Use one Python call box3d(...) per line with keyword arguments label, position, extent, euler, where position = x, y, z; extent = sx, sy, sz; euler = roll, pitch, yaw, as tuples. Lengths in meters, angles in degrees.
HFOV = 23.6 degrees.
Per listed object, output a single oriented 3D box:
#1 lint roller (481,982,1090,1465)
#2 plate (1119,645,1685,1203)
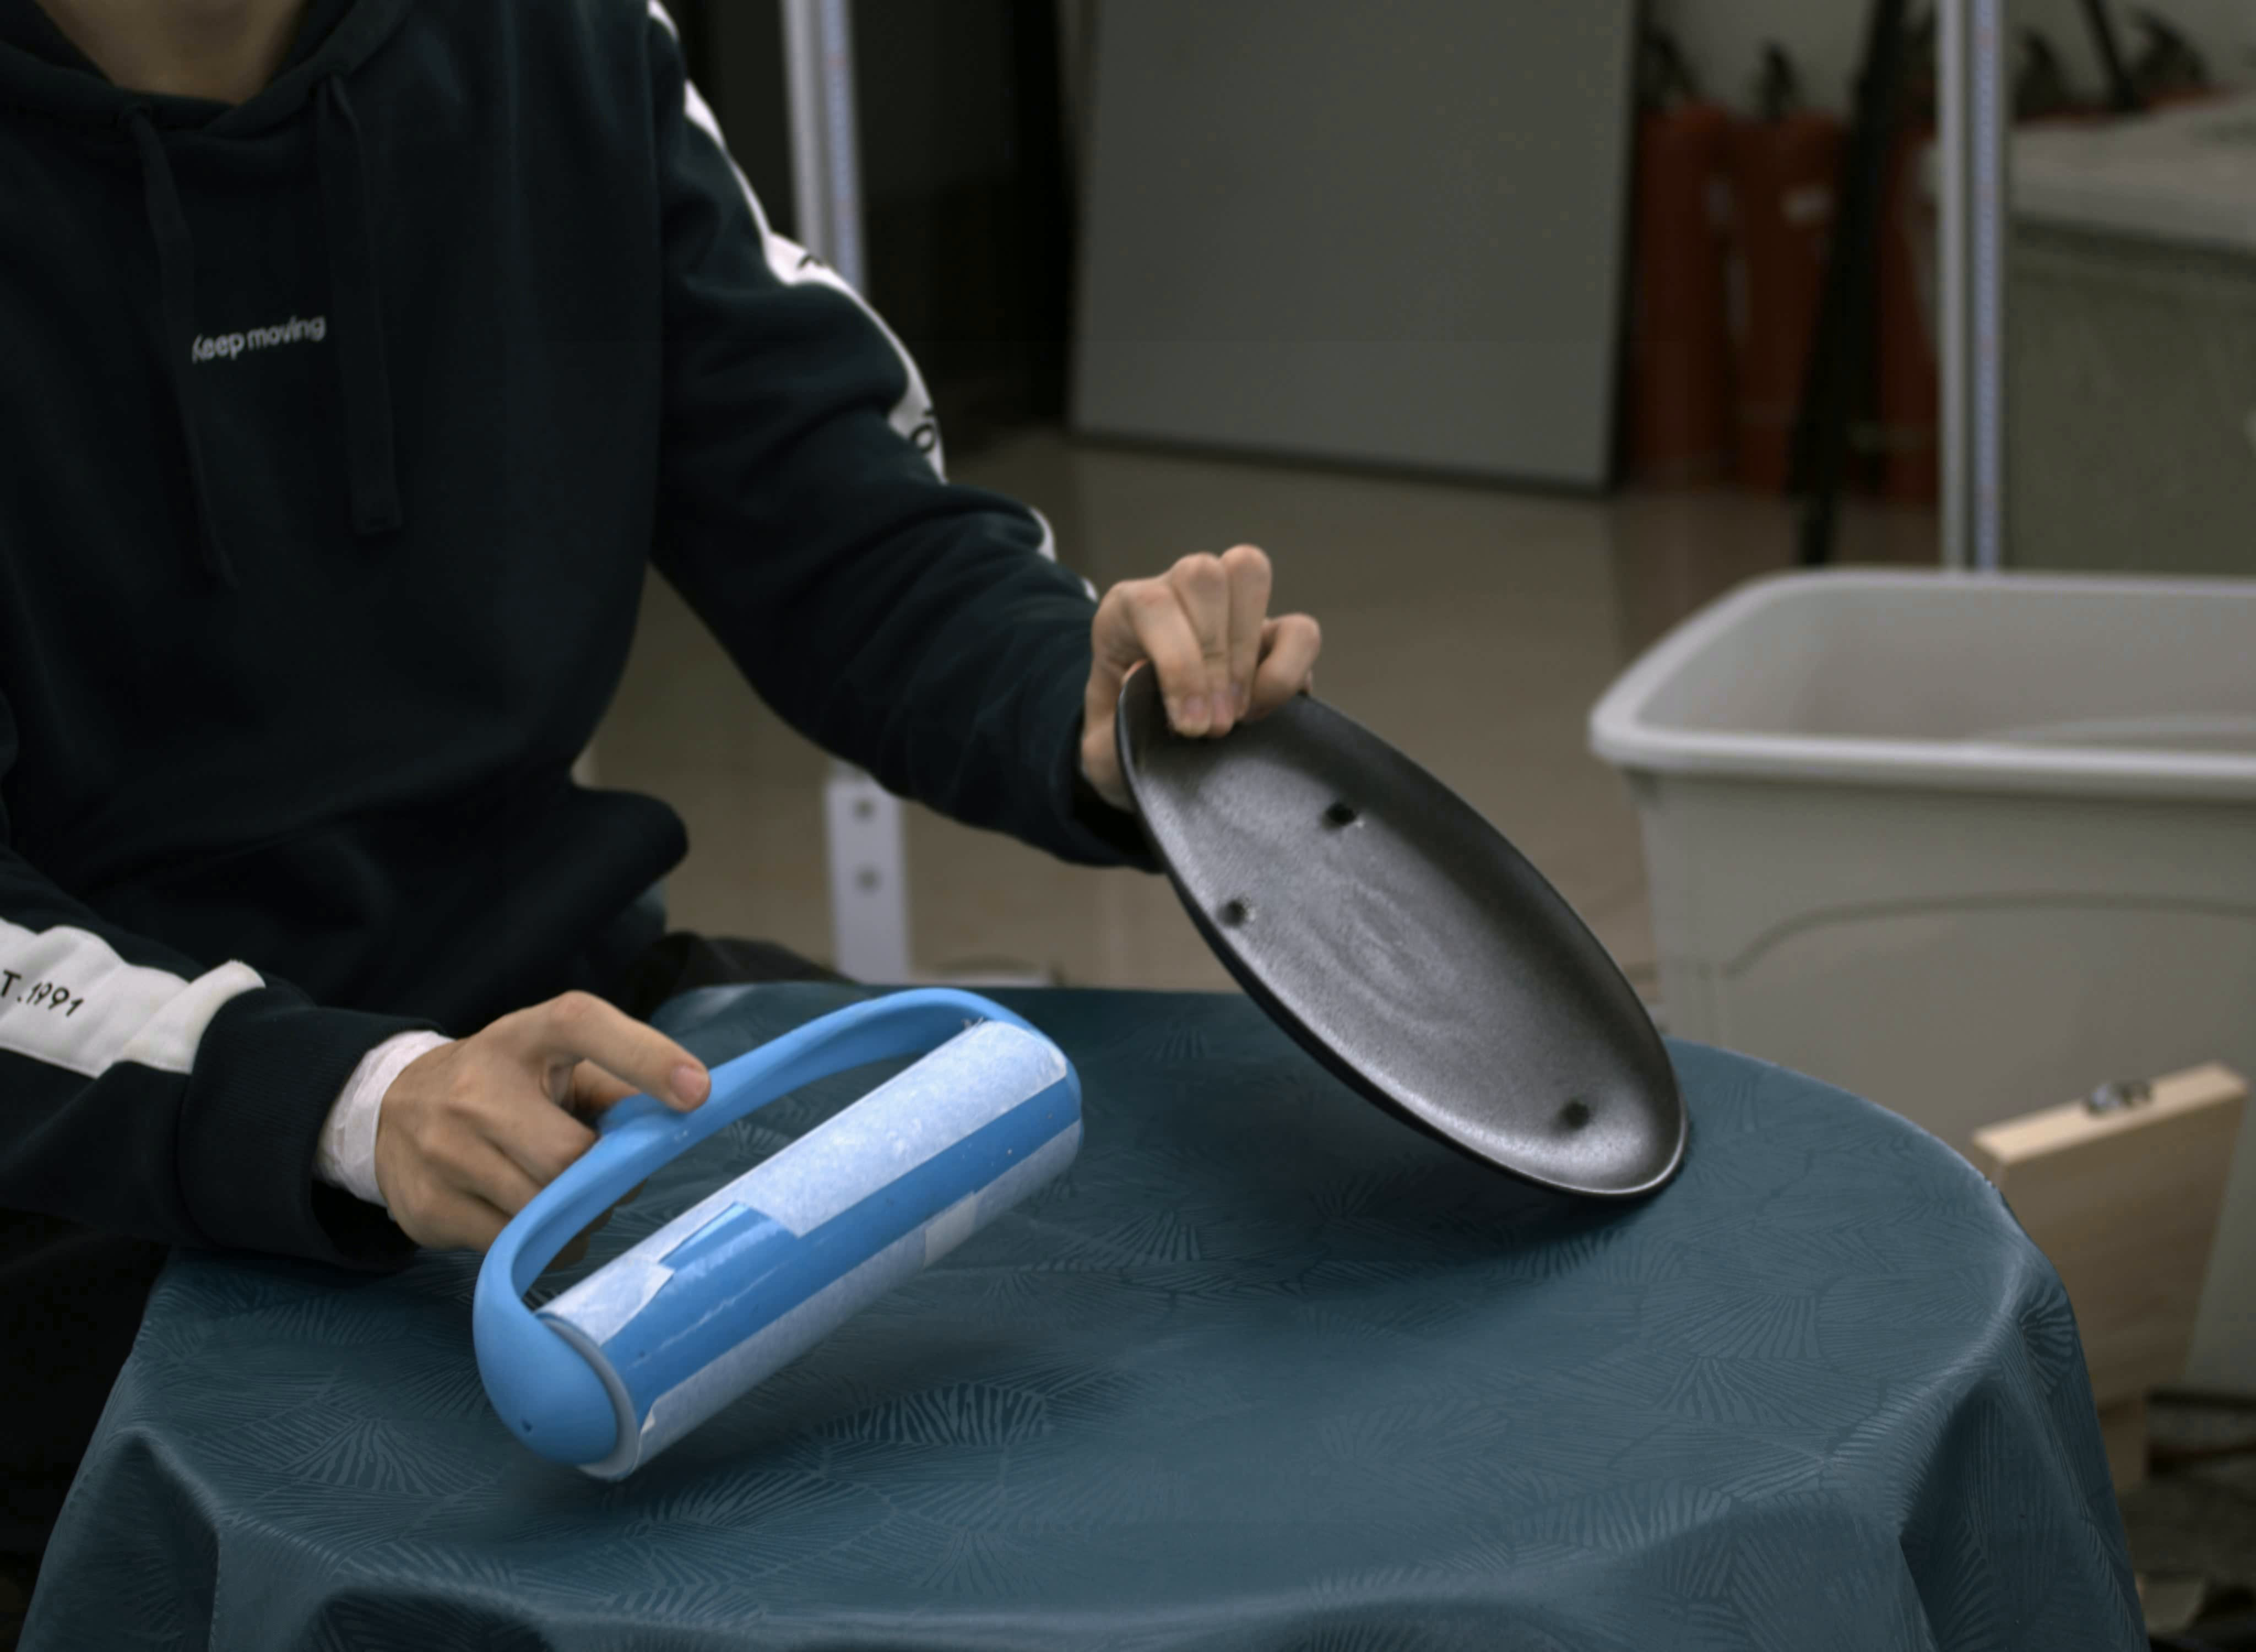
box3d(label="lint roller", position=(-0.136, 0.112, 1.612), extent=(0.182, 0.068, 0.225), euler=(5, 28, 41))
box3d(label="plate", position=(0.086, 0.035, 1.762), extent=(0.241, 0.023, 0.245), euler=(34, 23, -18))
